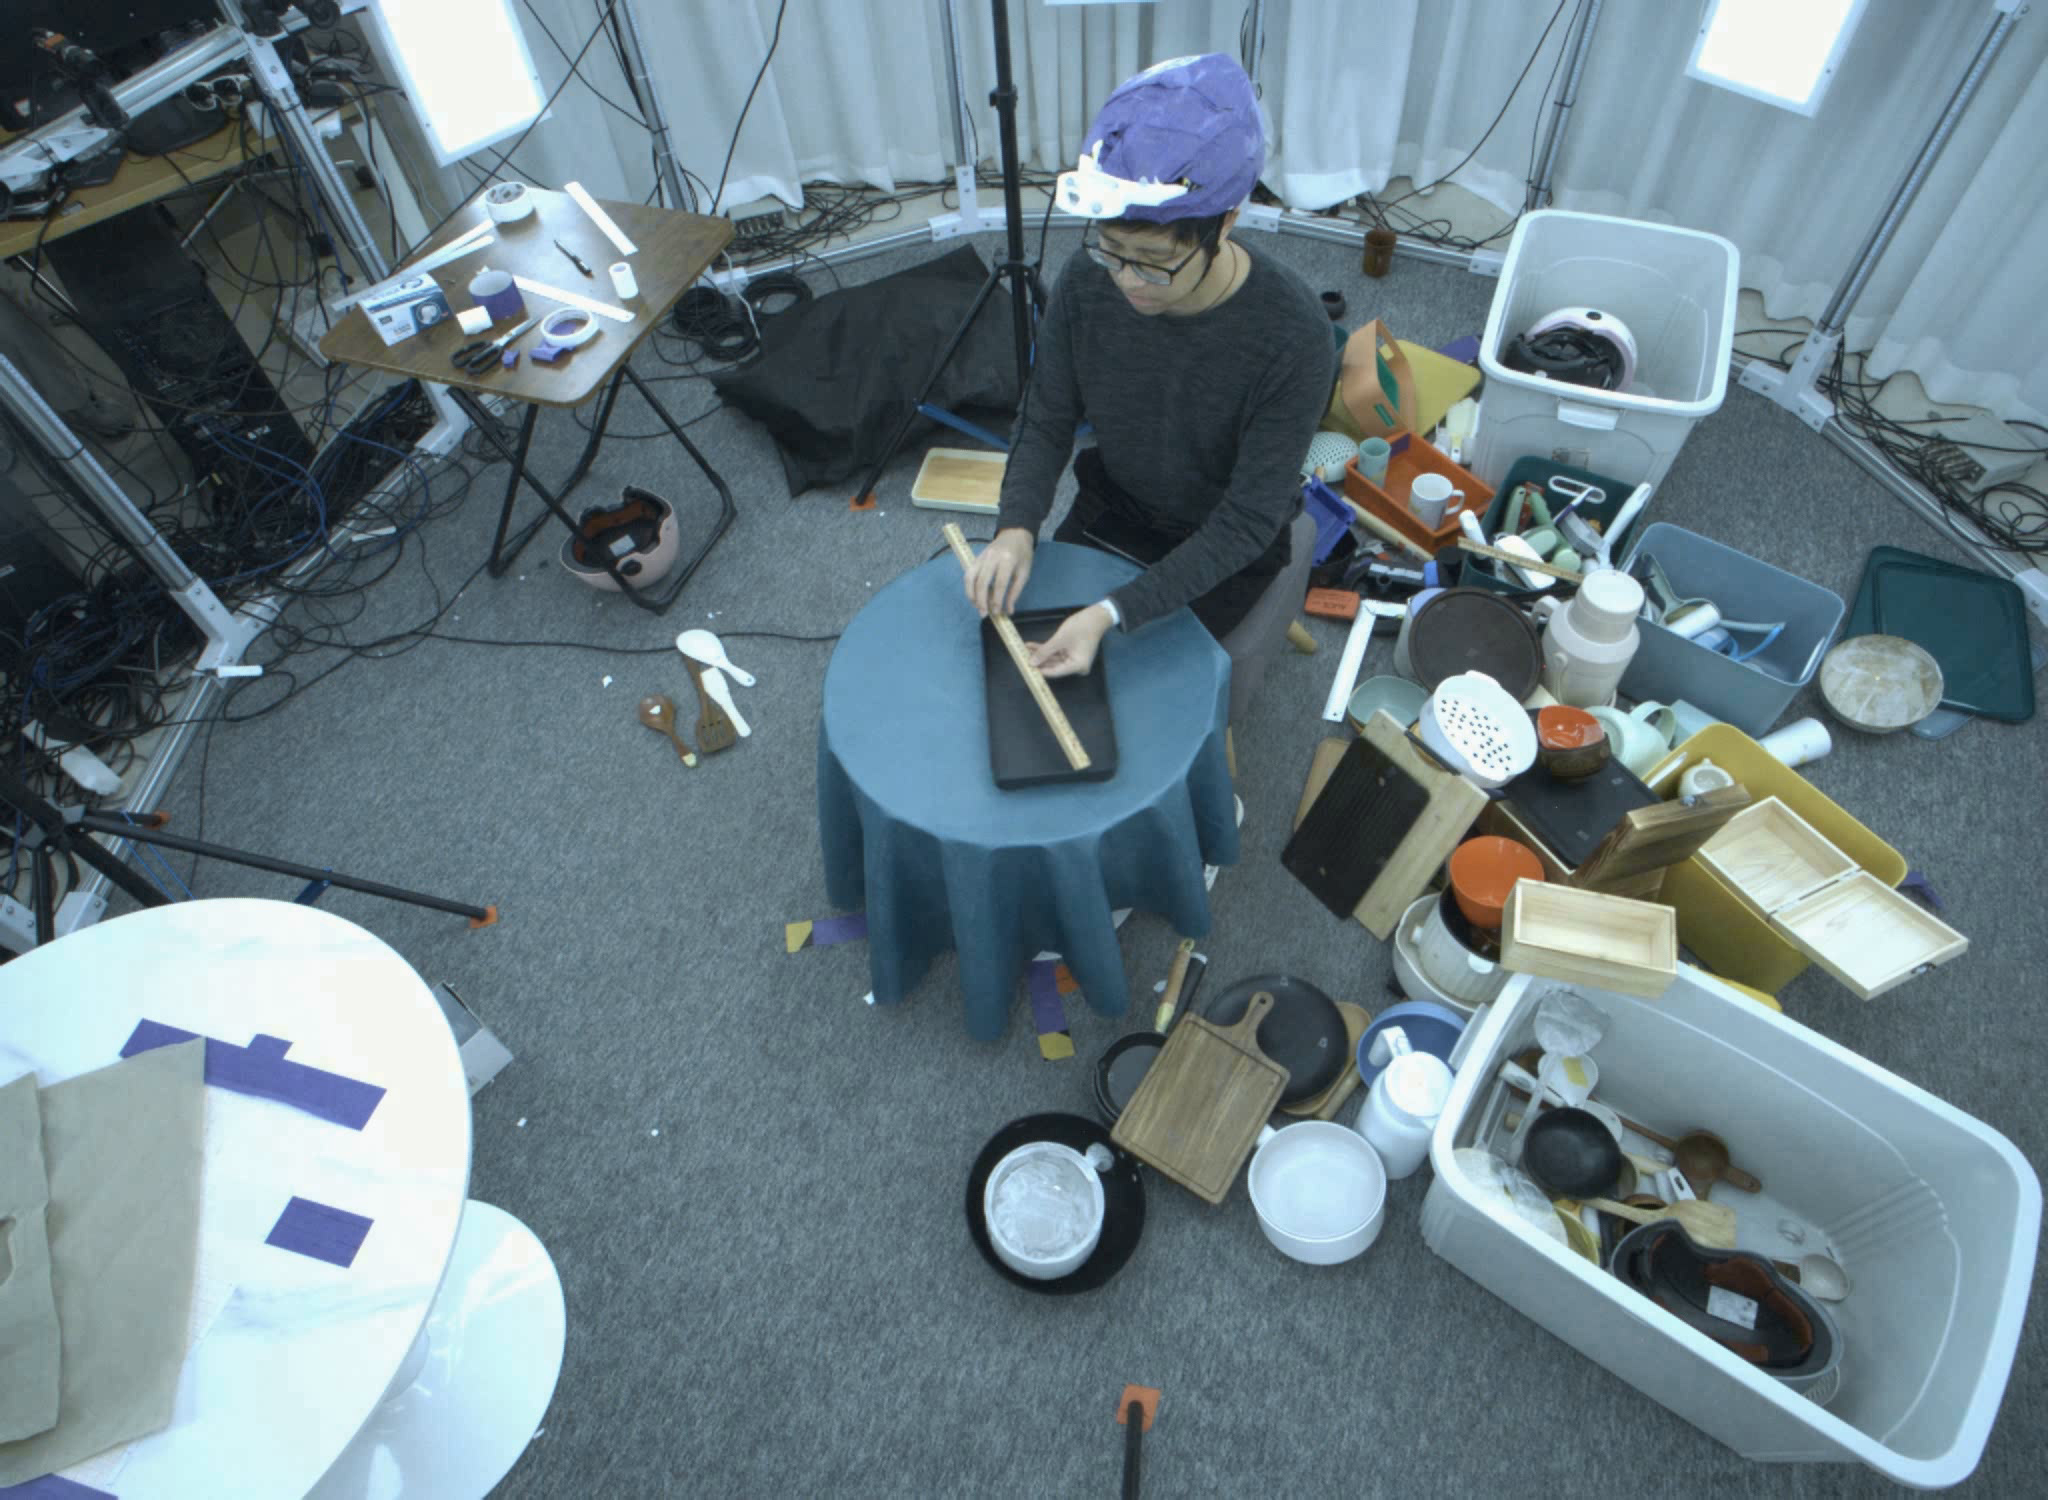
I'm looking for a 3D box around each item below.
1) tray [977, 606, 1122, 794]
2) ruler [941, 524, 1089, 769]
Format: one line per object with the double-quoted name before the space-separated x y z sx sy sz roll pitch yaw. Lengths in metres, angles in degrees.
"tray" 0.034 -0.079 1.821 0.185 0.037 0.314 -6 54 -2
"ruler" -0.020 -0.167 1.824 0.027 0.006 0.492 -18 60 -17
